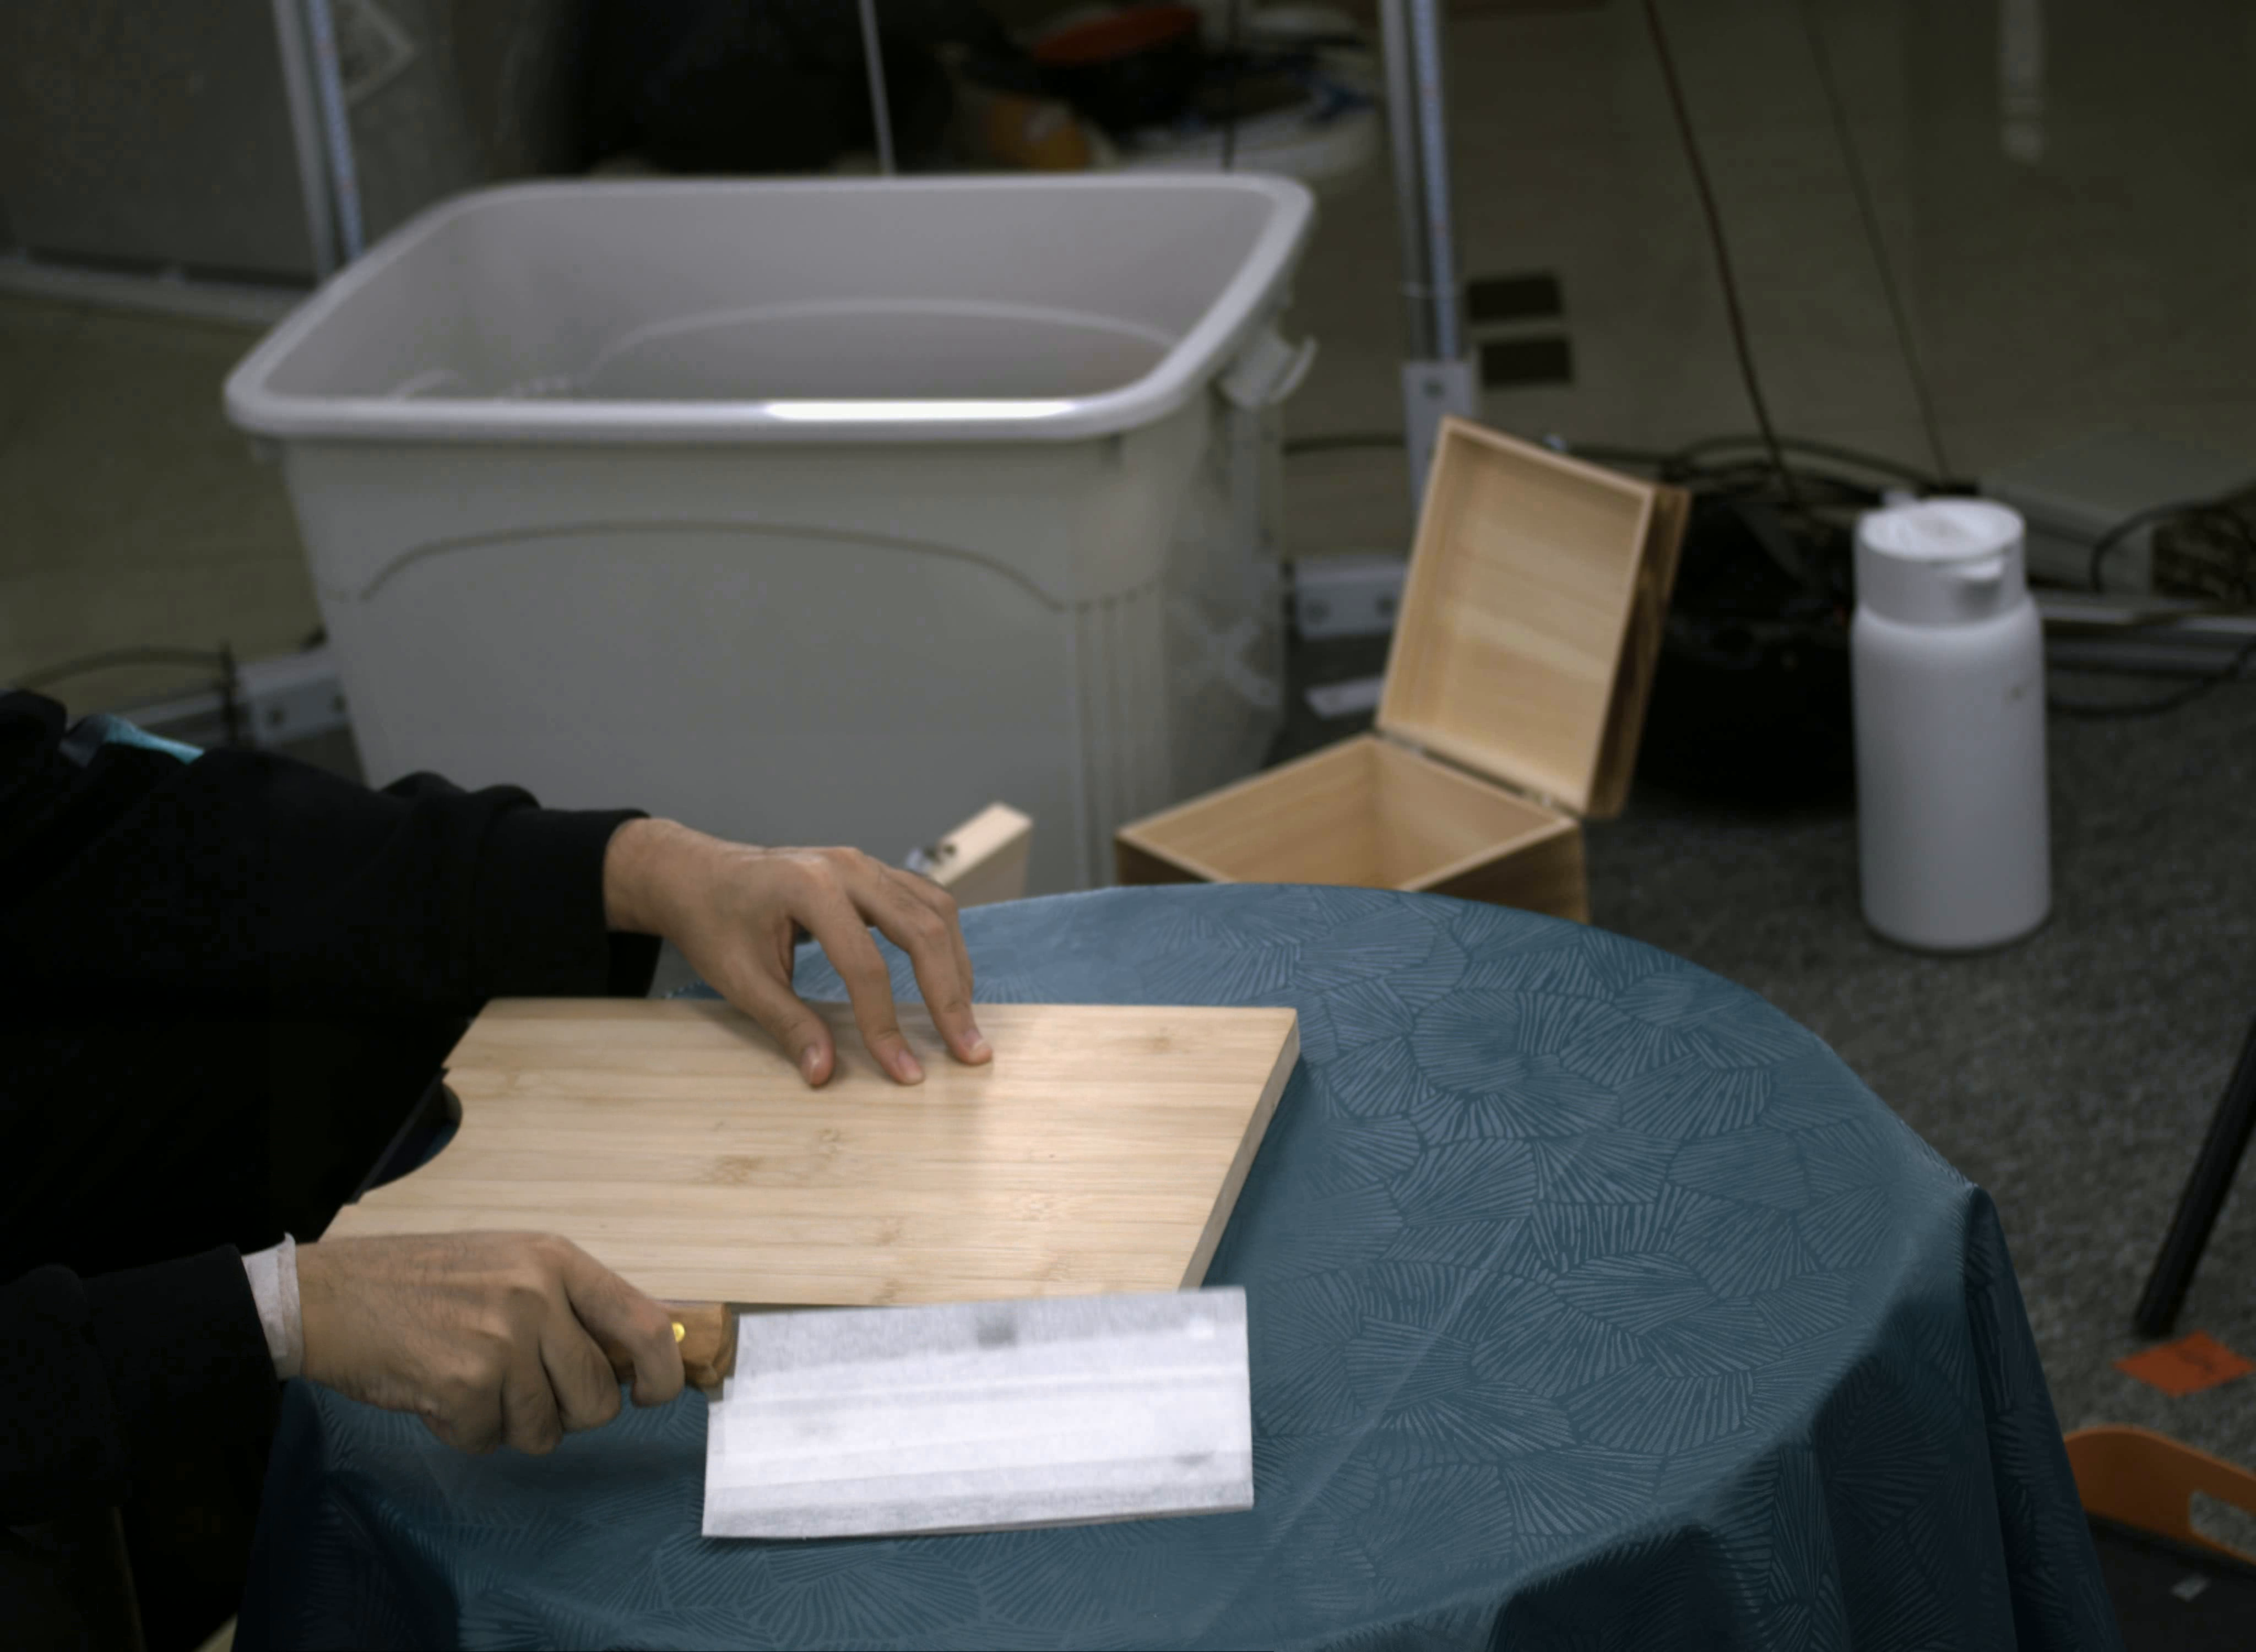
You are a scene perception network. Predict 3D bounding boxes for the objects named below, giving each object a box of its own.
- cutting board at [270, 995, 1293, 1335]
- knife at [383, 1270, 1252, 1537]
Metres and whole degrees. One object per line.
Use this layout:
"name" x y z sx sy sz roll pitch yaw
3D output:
"cutting board" -0.127 0.130 2.178 0.348 0.024 0.247 0 26 13
"knife" -0.110 0.202 1.972 0.305 0.021 0.091 -4 59 4
